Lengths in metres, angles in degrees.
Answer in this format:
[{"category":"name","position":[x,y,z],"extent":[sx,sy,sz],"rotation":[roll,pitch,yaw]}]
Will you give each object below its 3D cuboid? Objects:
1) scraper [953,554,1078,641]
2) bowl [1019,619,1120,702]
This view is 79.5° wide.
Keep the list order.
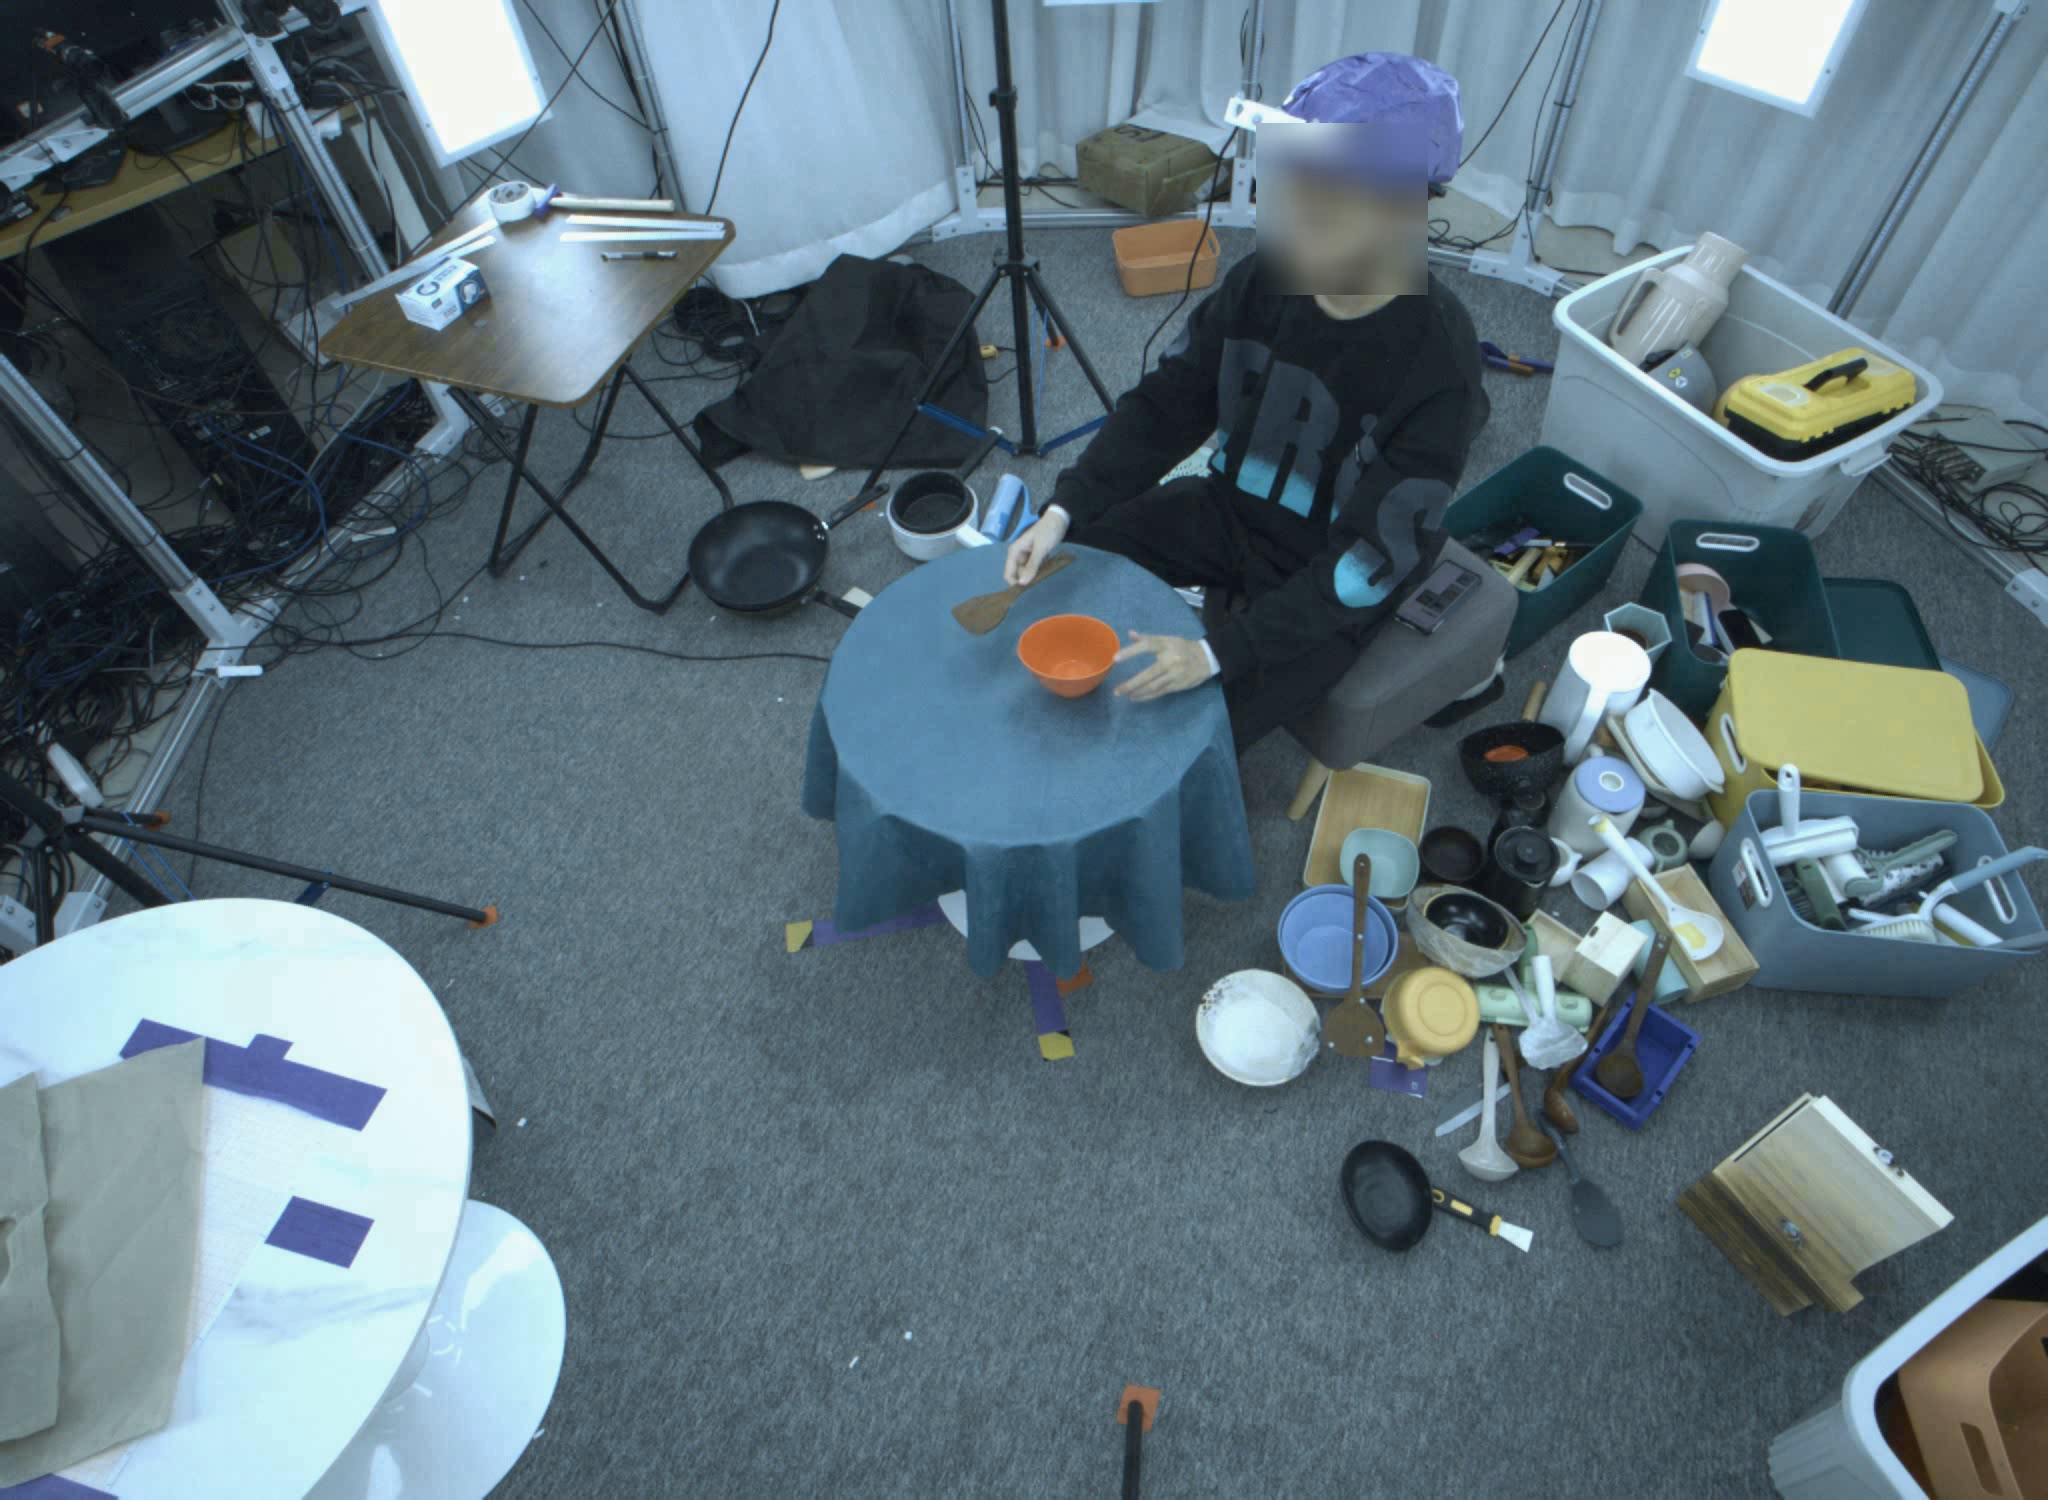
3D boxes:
[{"category":"scraper","position":[-0.008,-0.237,1.864],"extent":[0.212,0.011,0.074],"rotation":[-35,60,-13]},{"category":"bowl","position":[0.068,-0.120,1.820],"extent":[0.148,0.106,0.146],"rotation":[0,53,2]}]
